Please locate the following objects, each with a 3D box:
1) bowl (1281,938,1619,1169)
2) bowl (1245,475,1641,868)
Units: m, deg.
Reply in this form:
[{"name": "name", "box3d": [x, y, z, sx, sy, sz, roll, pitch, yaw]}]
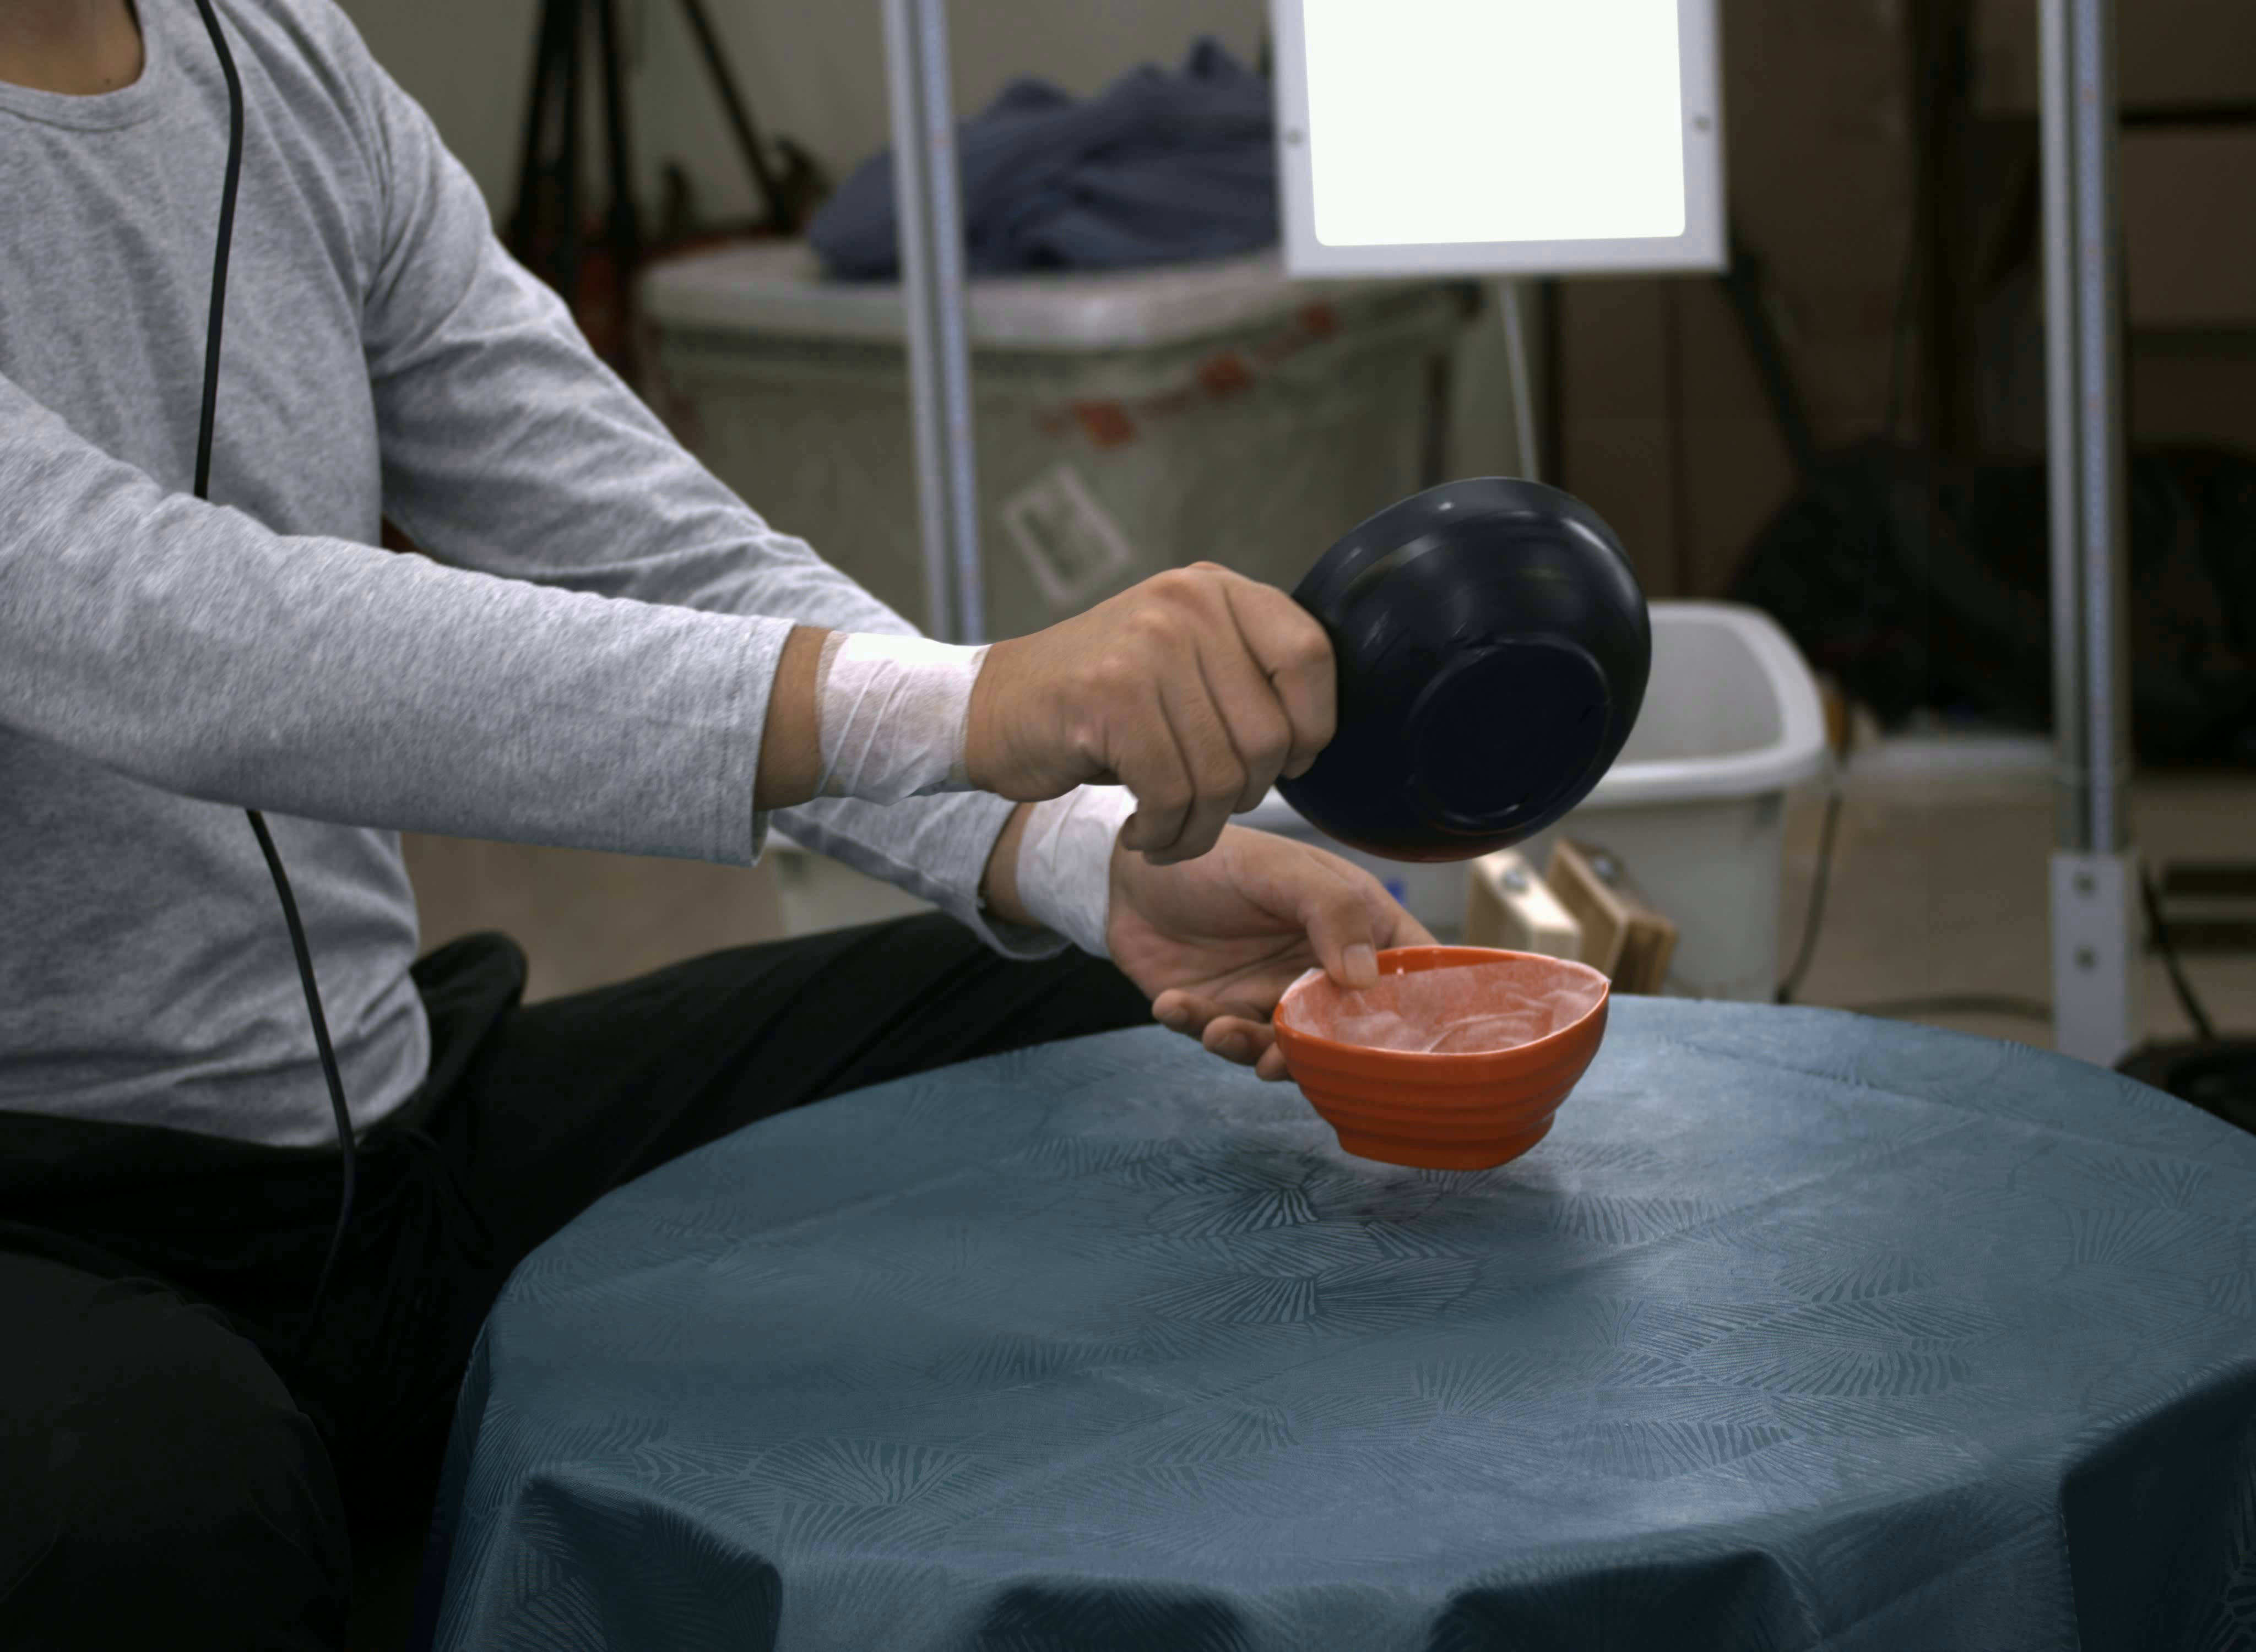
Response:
[{"name": "bowl", "box3d": [0.112, 0.081, 1.892, 0.118, 0.051, 0.118, -4, 19, 0]}, {"name": "bowl", "box3d": [0.110, -0.040, 1.760, 0.137, 0.141, 0.050, -10, 35, -21]}]
